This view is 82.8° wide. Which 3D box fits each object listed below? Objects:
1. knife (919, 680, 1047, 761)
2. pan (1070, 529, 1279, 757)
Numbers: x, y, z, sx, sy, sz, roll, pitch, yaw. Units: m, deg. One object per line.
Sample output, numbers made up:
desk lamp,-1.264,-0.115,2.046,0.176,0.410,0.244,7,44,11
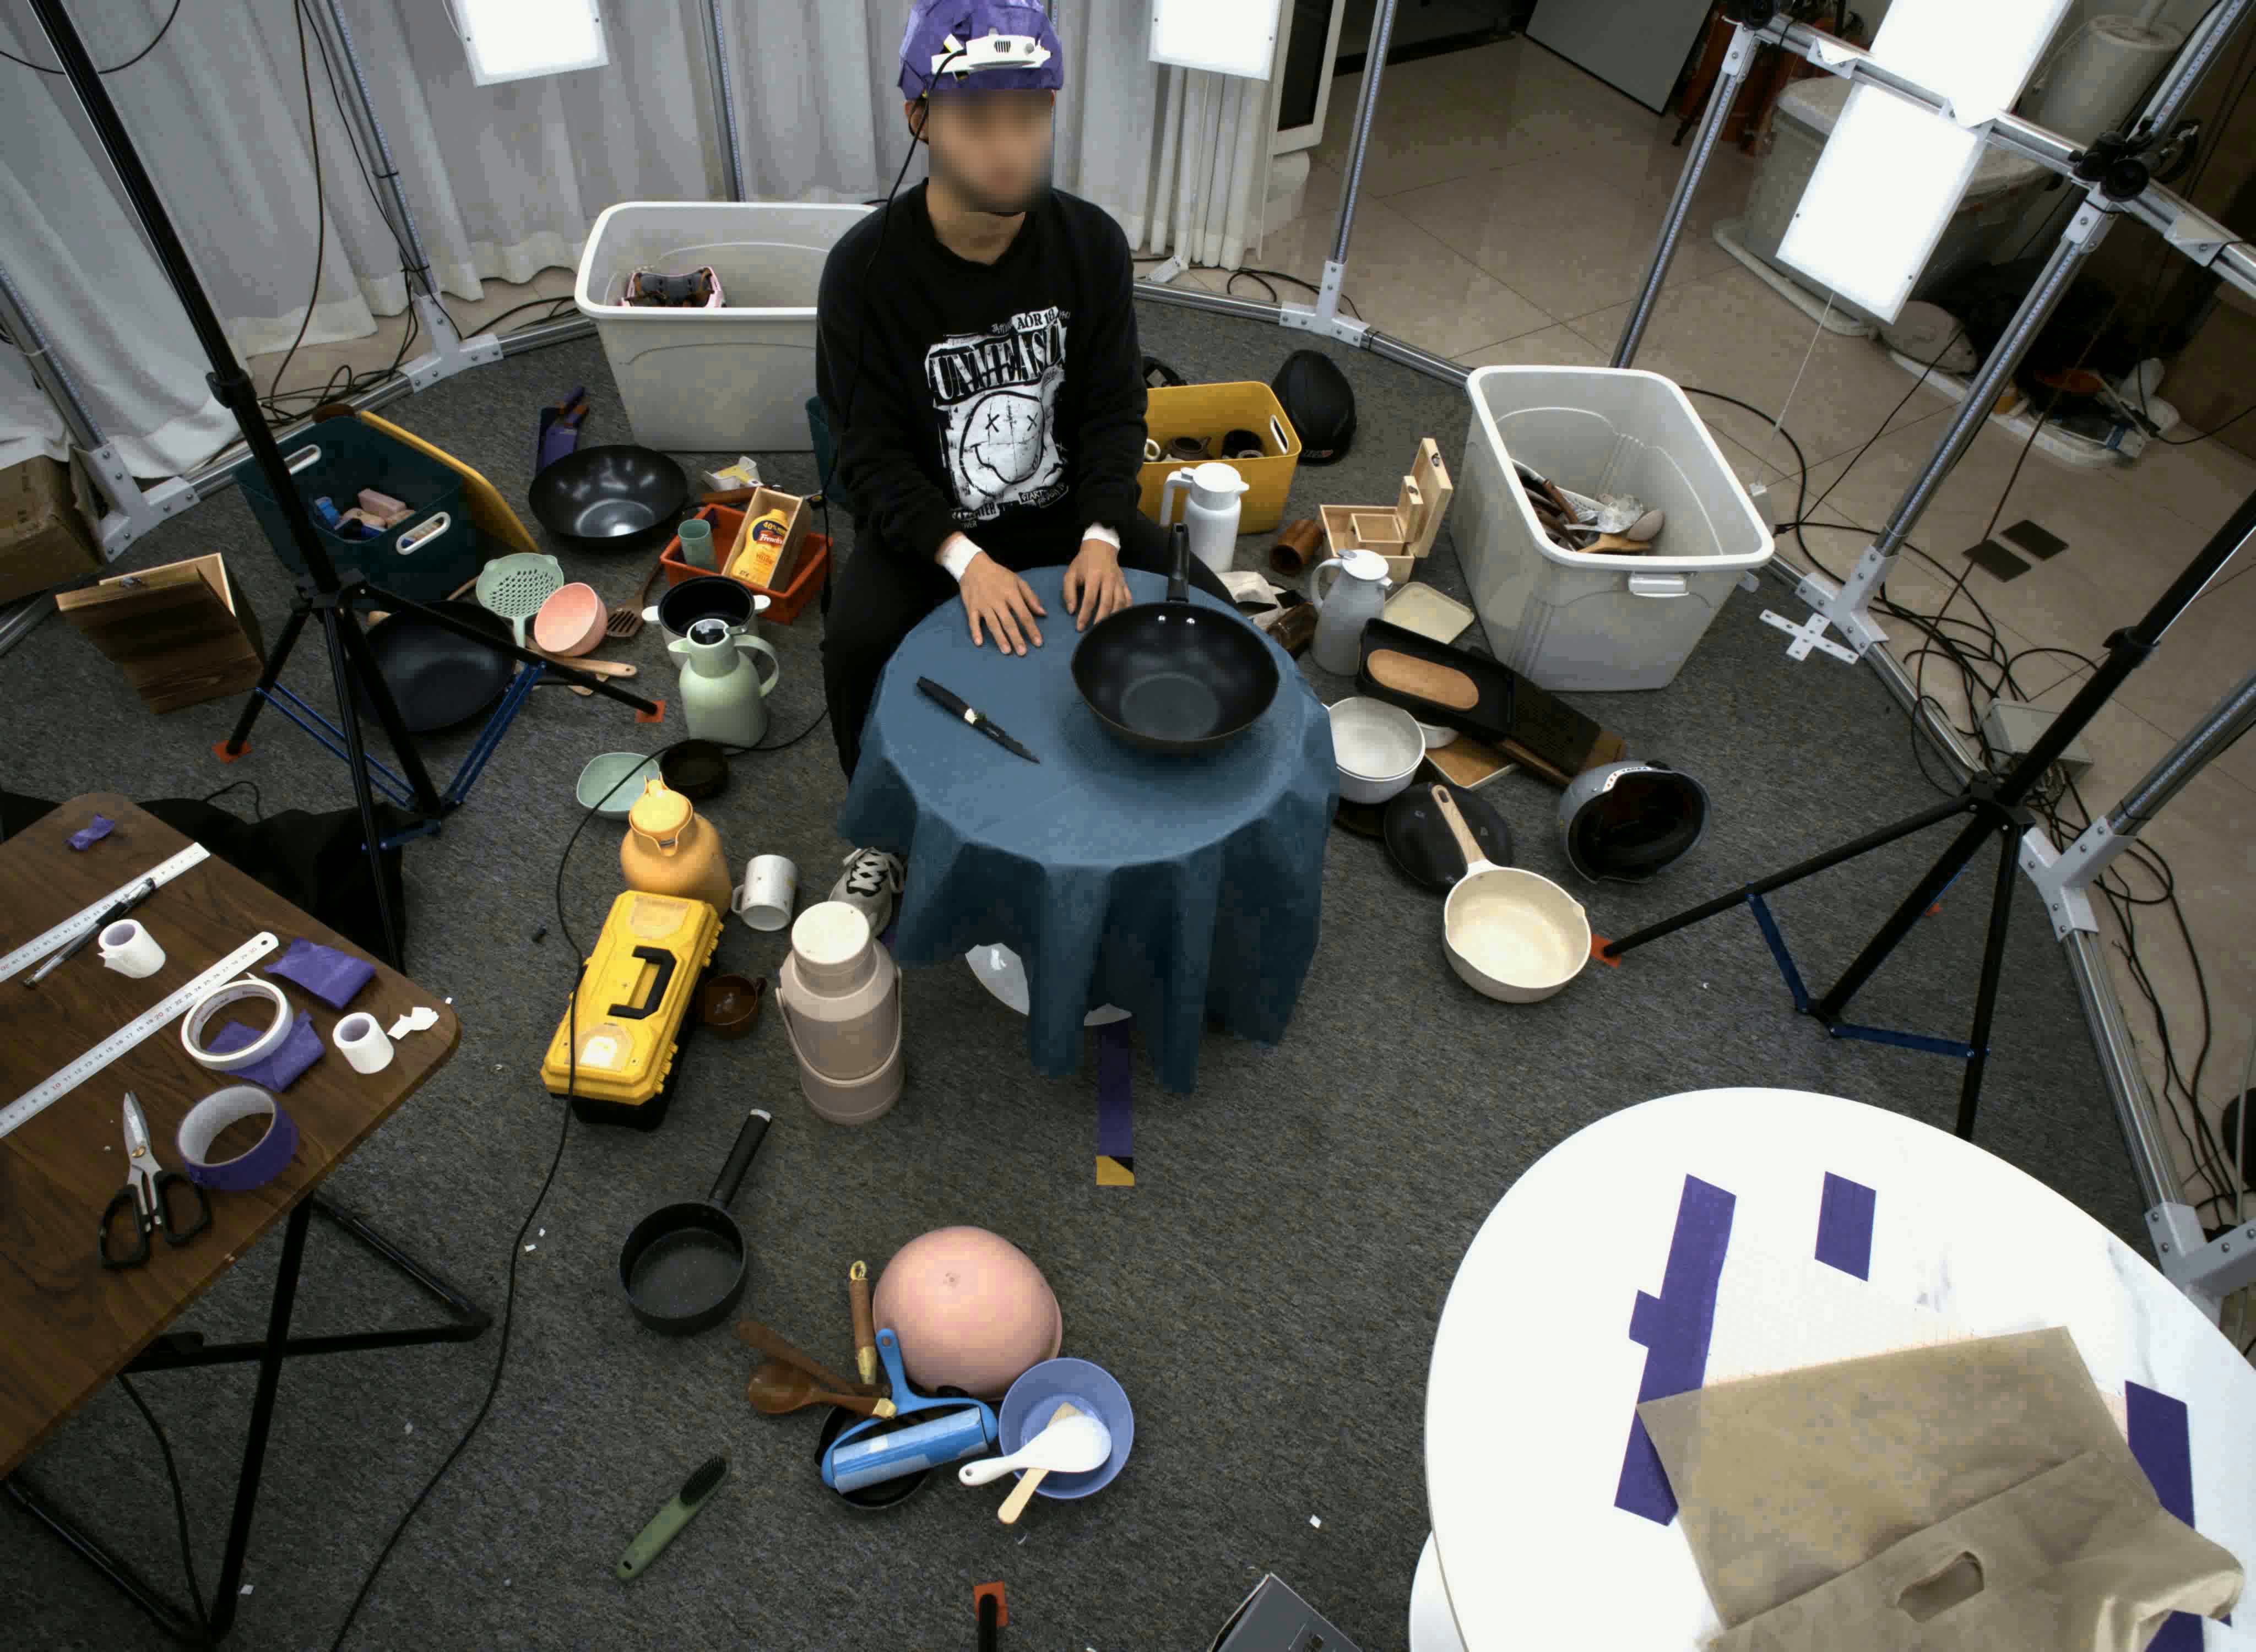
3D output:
knife,-0.202,-0.145,1.777,0.228,0.017,0.026,34,42,22
pan,0.067,-0.258,1.846,0.288,0.085,0.475,4,48,0
